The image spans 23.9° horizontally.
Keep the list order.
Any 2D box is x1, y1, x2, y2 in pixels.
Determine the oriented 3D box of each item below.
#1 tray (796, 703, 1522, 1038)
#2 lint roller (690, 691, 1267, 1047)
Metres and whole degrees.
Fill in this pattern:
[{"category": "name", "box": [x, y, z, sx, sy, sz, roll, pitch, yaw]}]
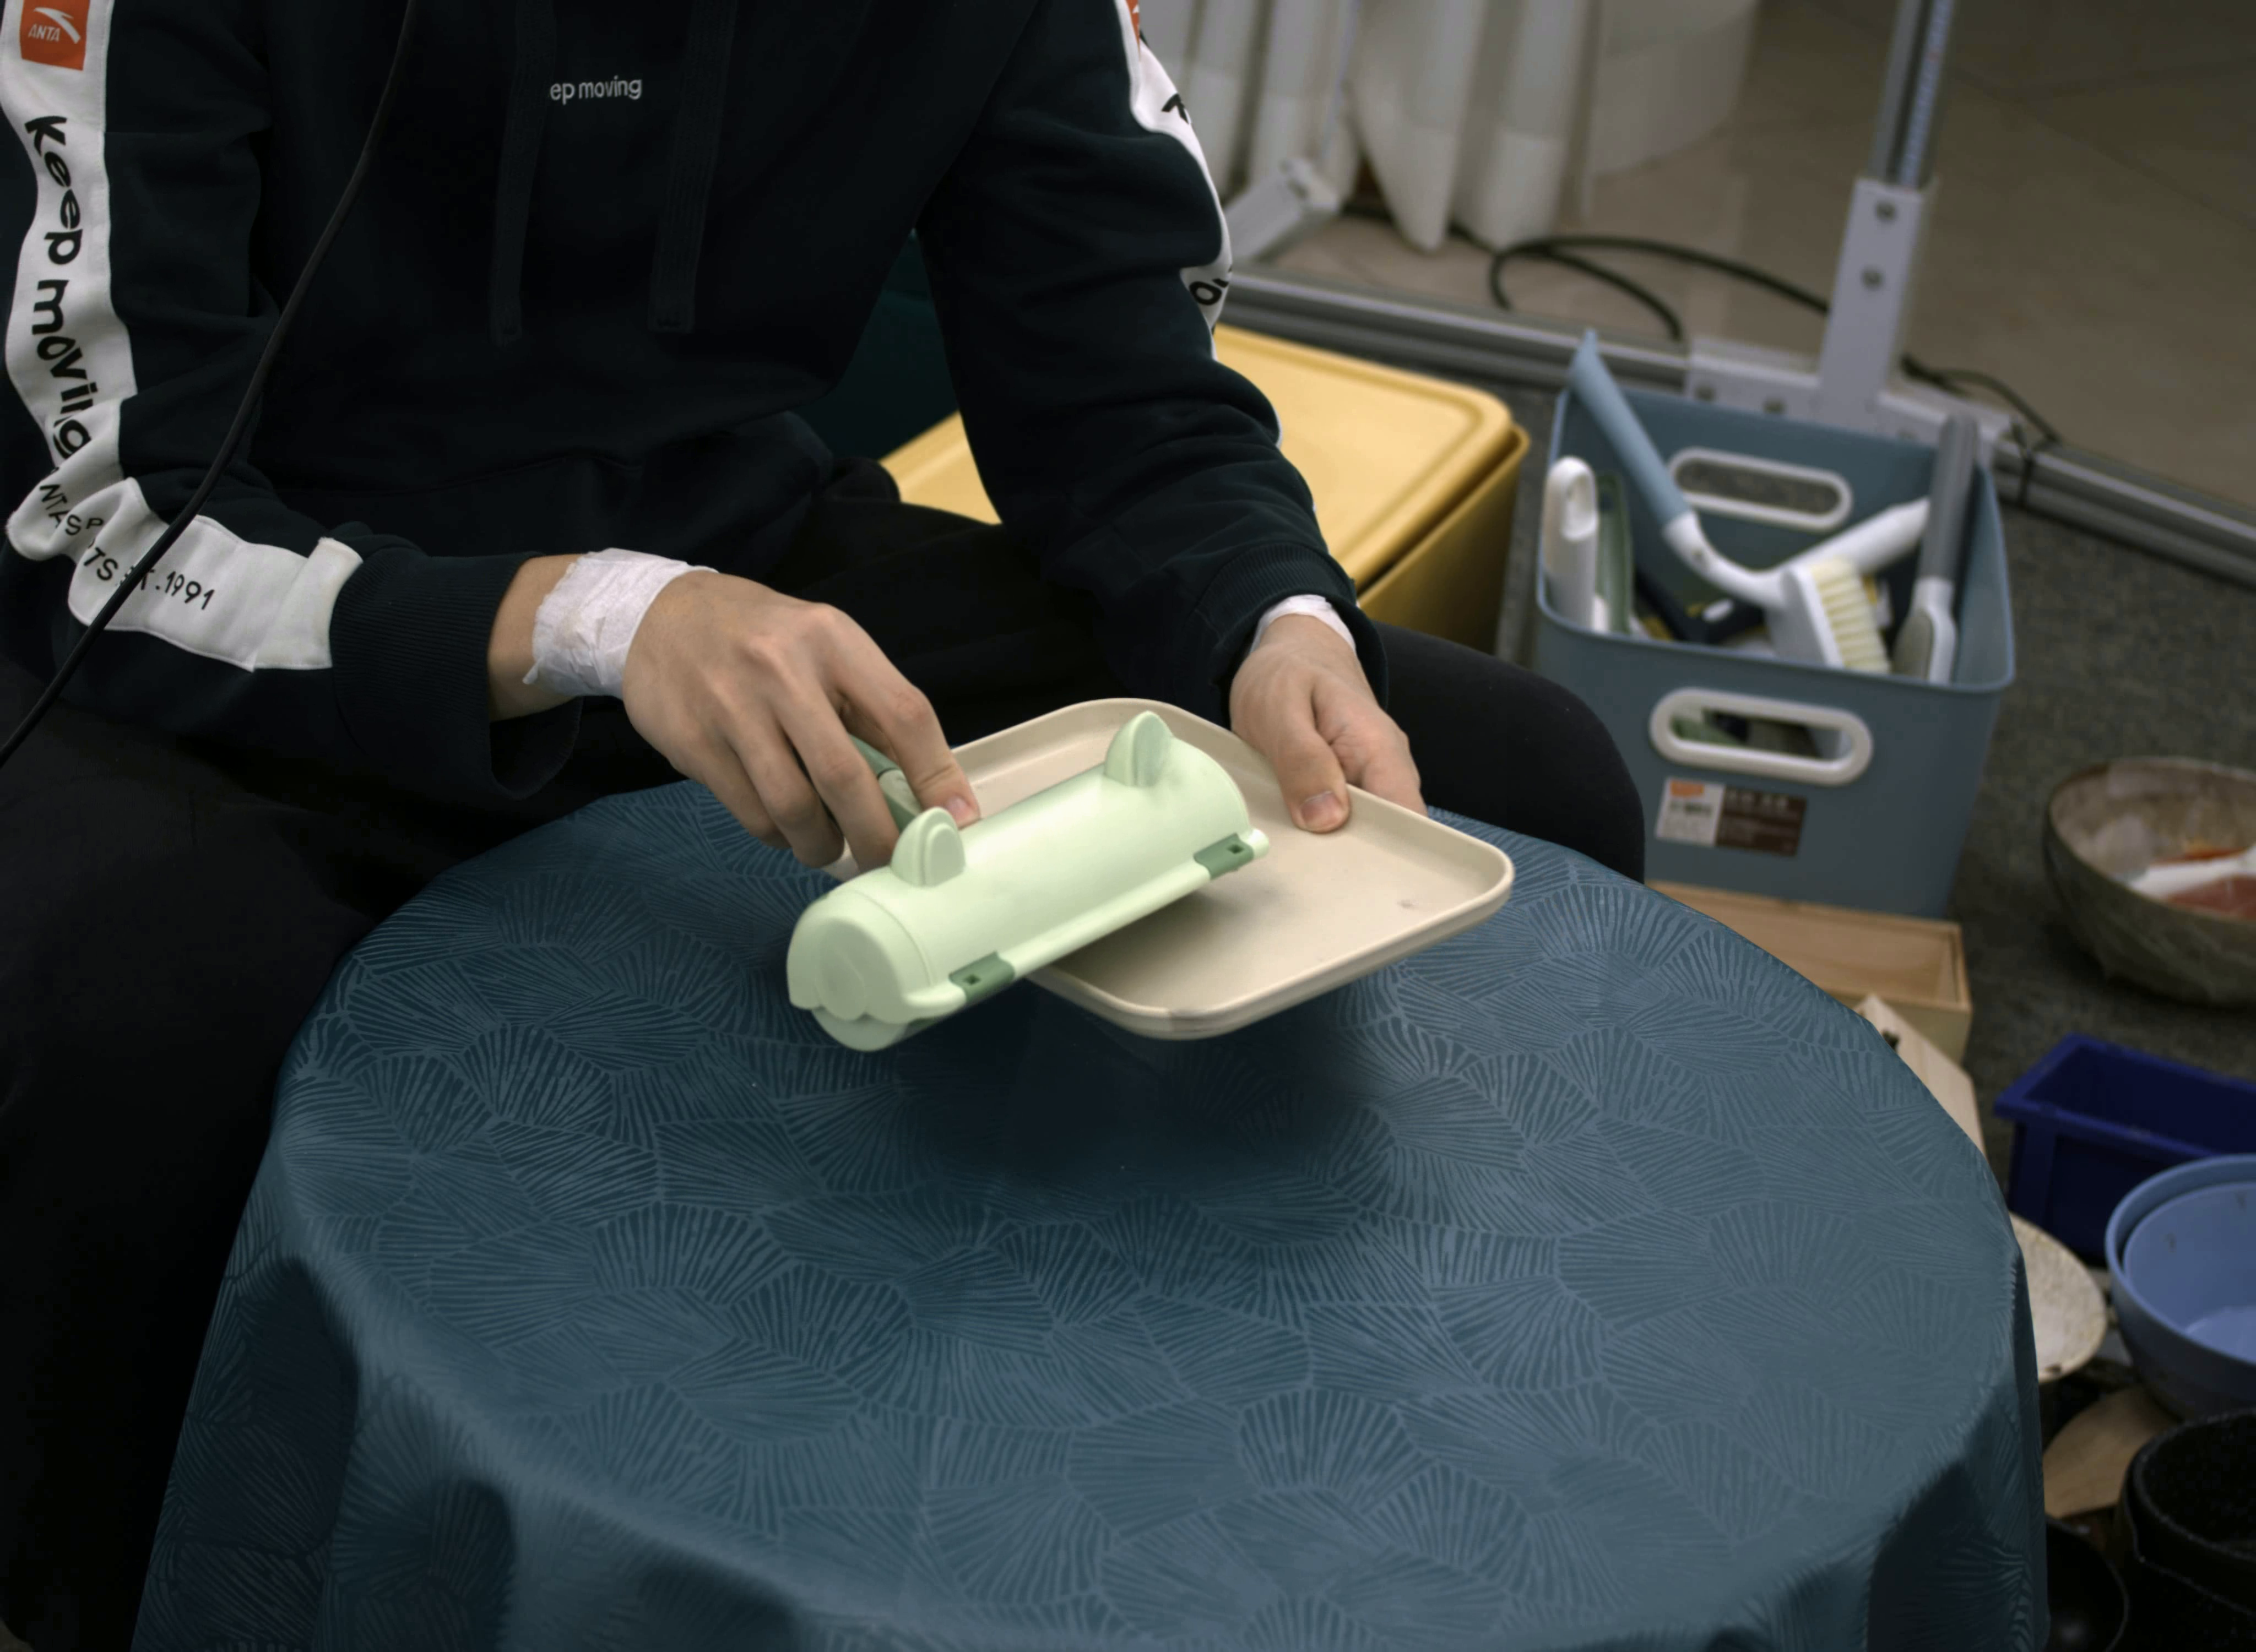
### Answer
[{"category": "tray", "box": [0.009, 0.014, 1.872, 0.170, 0.017, 0.241, -21, 29, -33]}, {"category": "lint roller", "box": [-0.074, -0.015, 1.809, 0.184, 0.082, 0.198, 37, 36, 23]}]
